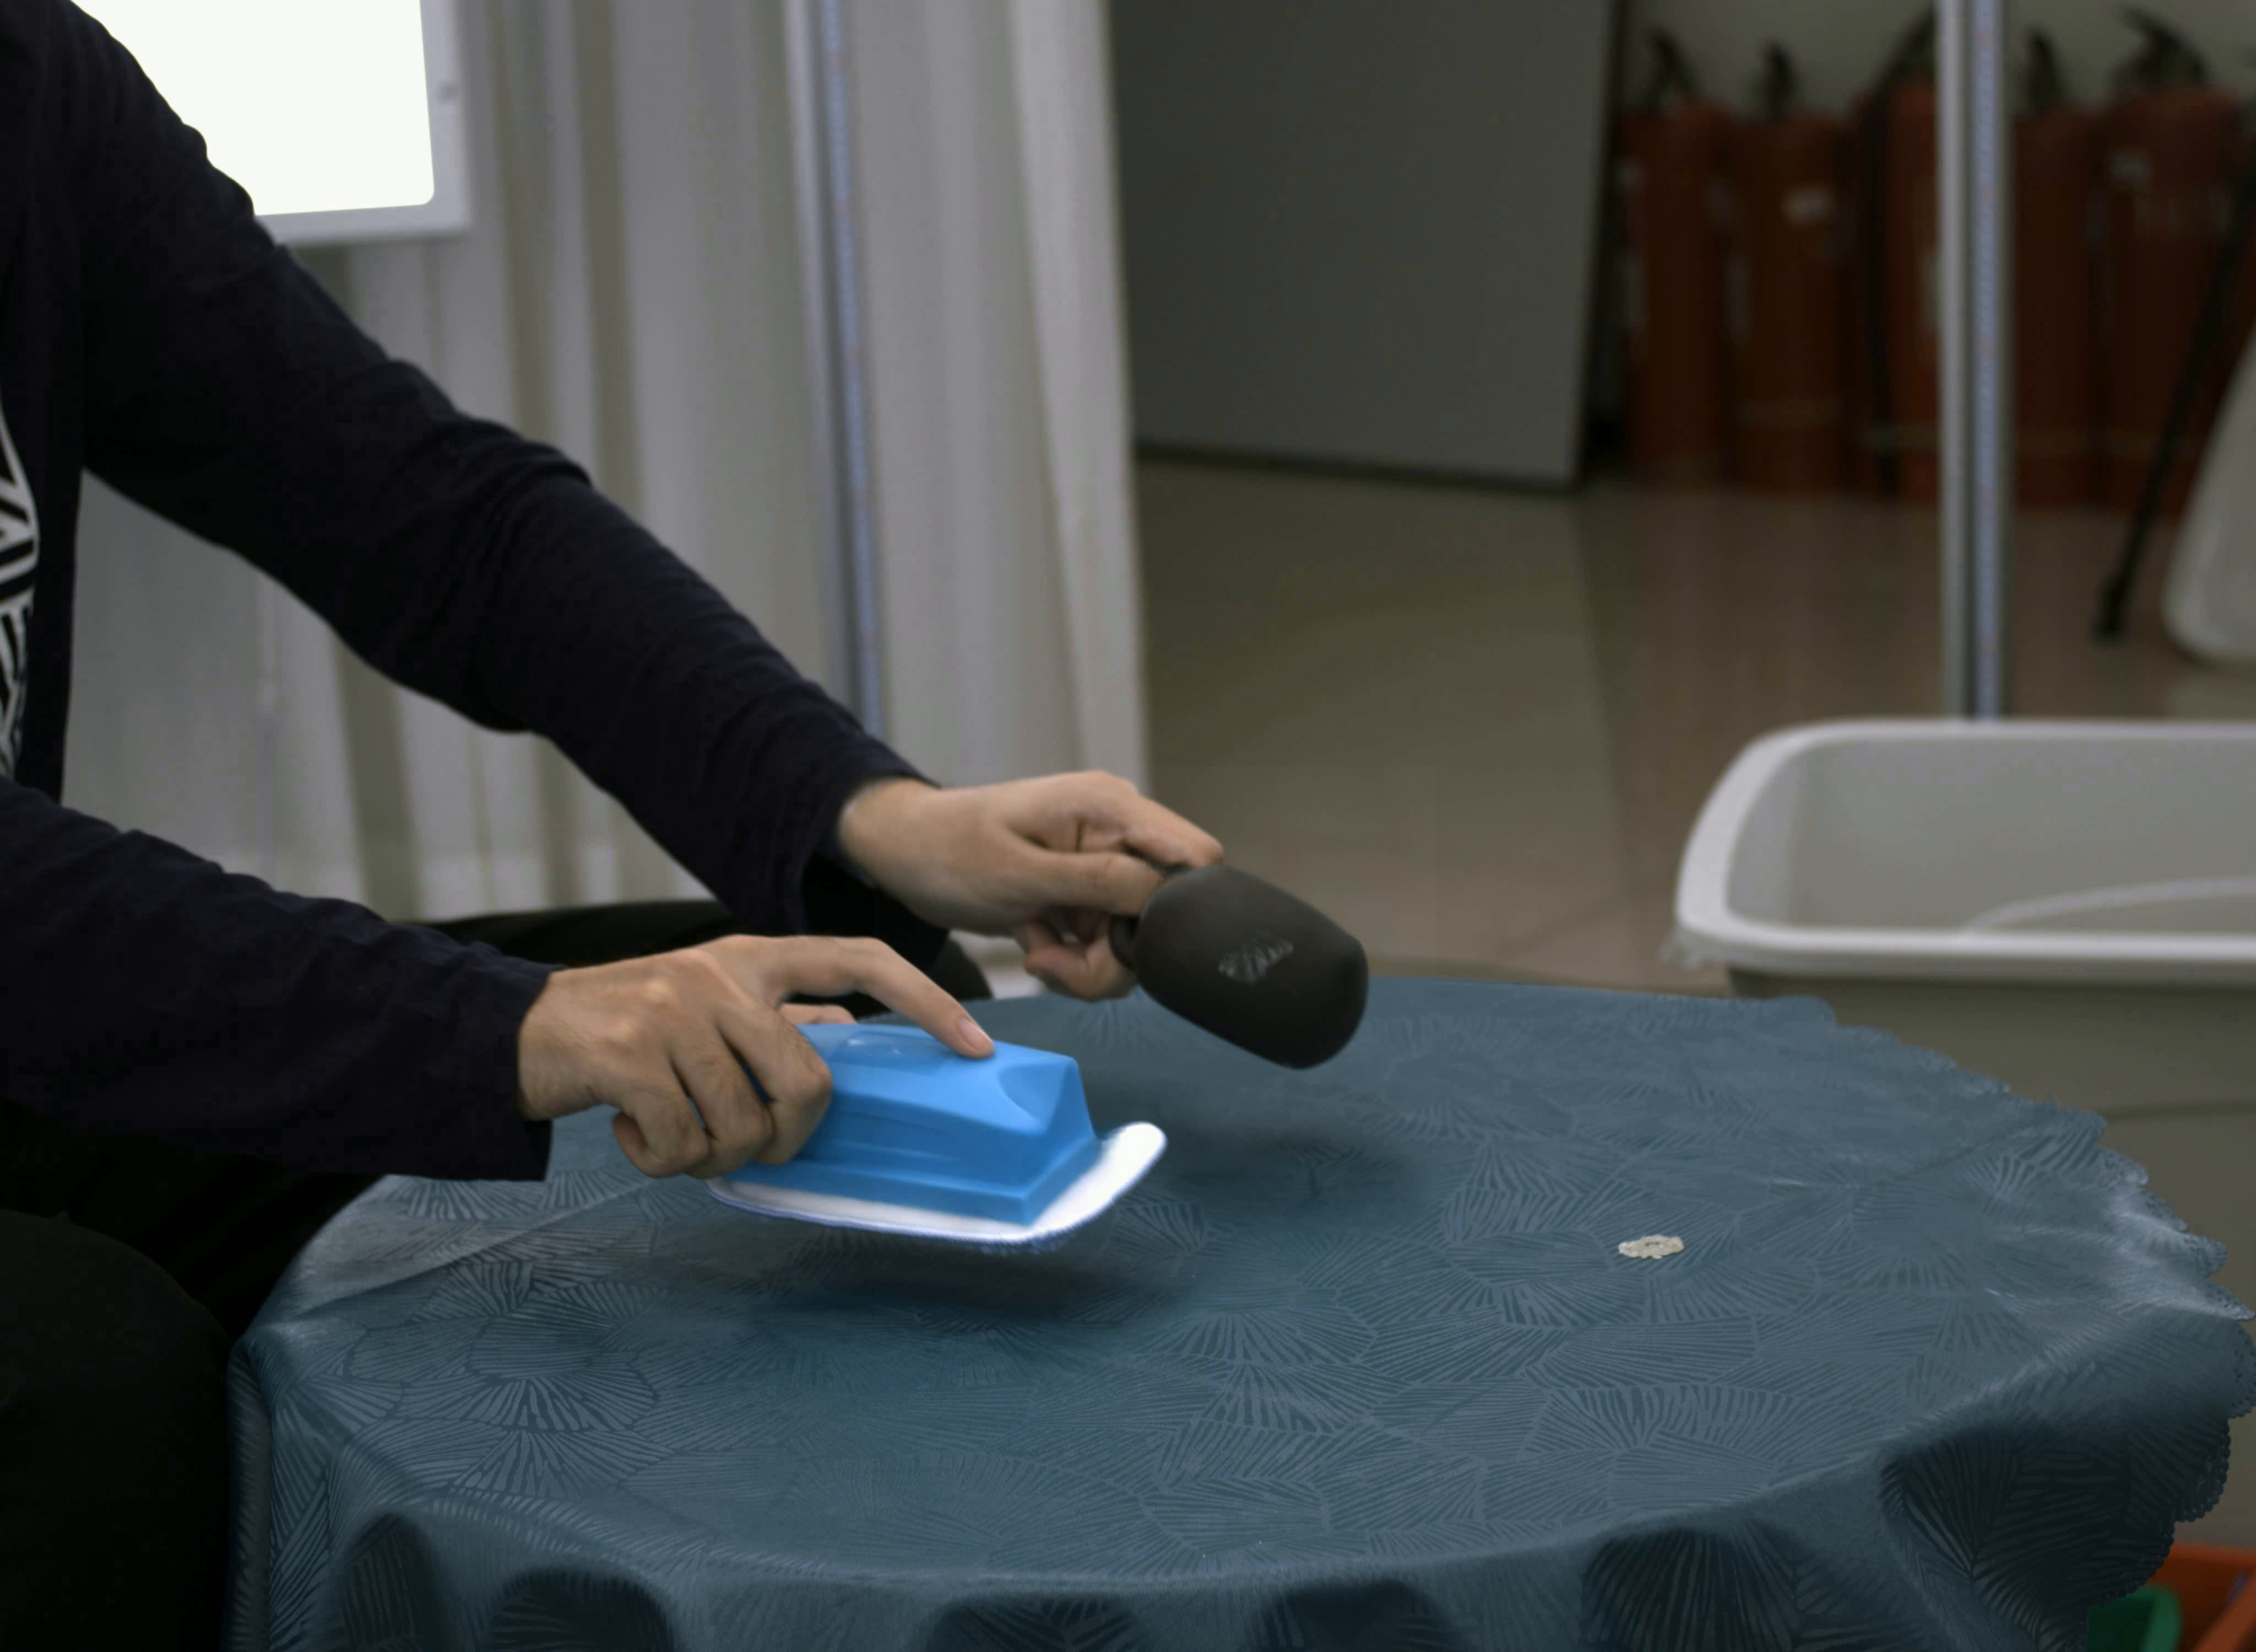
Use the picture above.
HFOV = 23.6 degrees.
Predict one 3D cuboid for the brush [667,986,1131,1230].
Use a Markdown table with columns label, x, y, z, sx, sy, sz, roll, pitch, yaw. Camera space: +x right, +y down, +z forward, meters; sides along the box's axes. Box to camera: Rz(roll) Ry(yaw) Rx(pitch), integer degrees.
| label | x | y | z | sx | sy | sz | roll | pitch | yaw |
| --- | --- | --- | --- | --- | --- | --- | --- | --- | --- |
| brush | -0.073 | 0.086 | 1.694 | 0.145 | 0.056 | 0.082 | 10 | 28 | 35 |

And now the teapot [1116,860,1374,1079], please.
| label | x | y | z | sx | sy | sz | roll | pitch | yaw |
| --- | --- | --- | --- | --- | --- | --- | --- | --- | --- |
| teapot | 0.035 | 0.044 | 1.808 | 0.082 | 0.053 | 0.115 | 39 | -9 | -37 |
